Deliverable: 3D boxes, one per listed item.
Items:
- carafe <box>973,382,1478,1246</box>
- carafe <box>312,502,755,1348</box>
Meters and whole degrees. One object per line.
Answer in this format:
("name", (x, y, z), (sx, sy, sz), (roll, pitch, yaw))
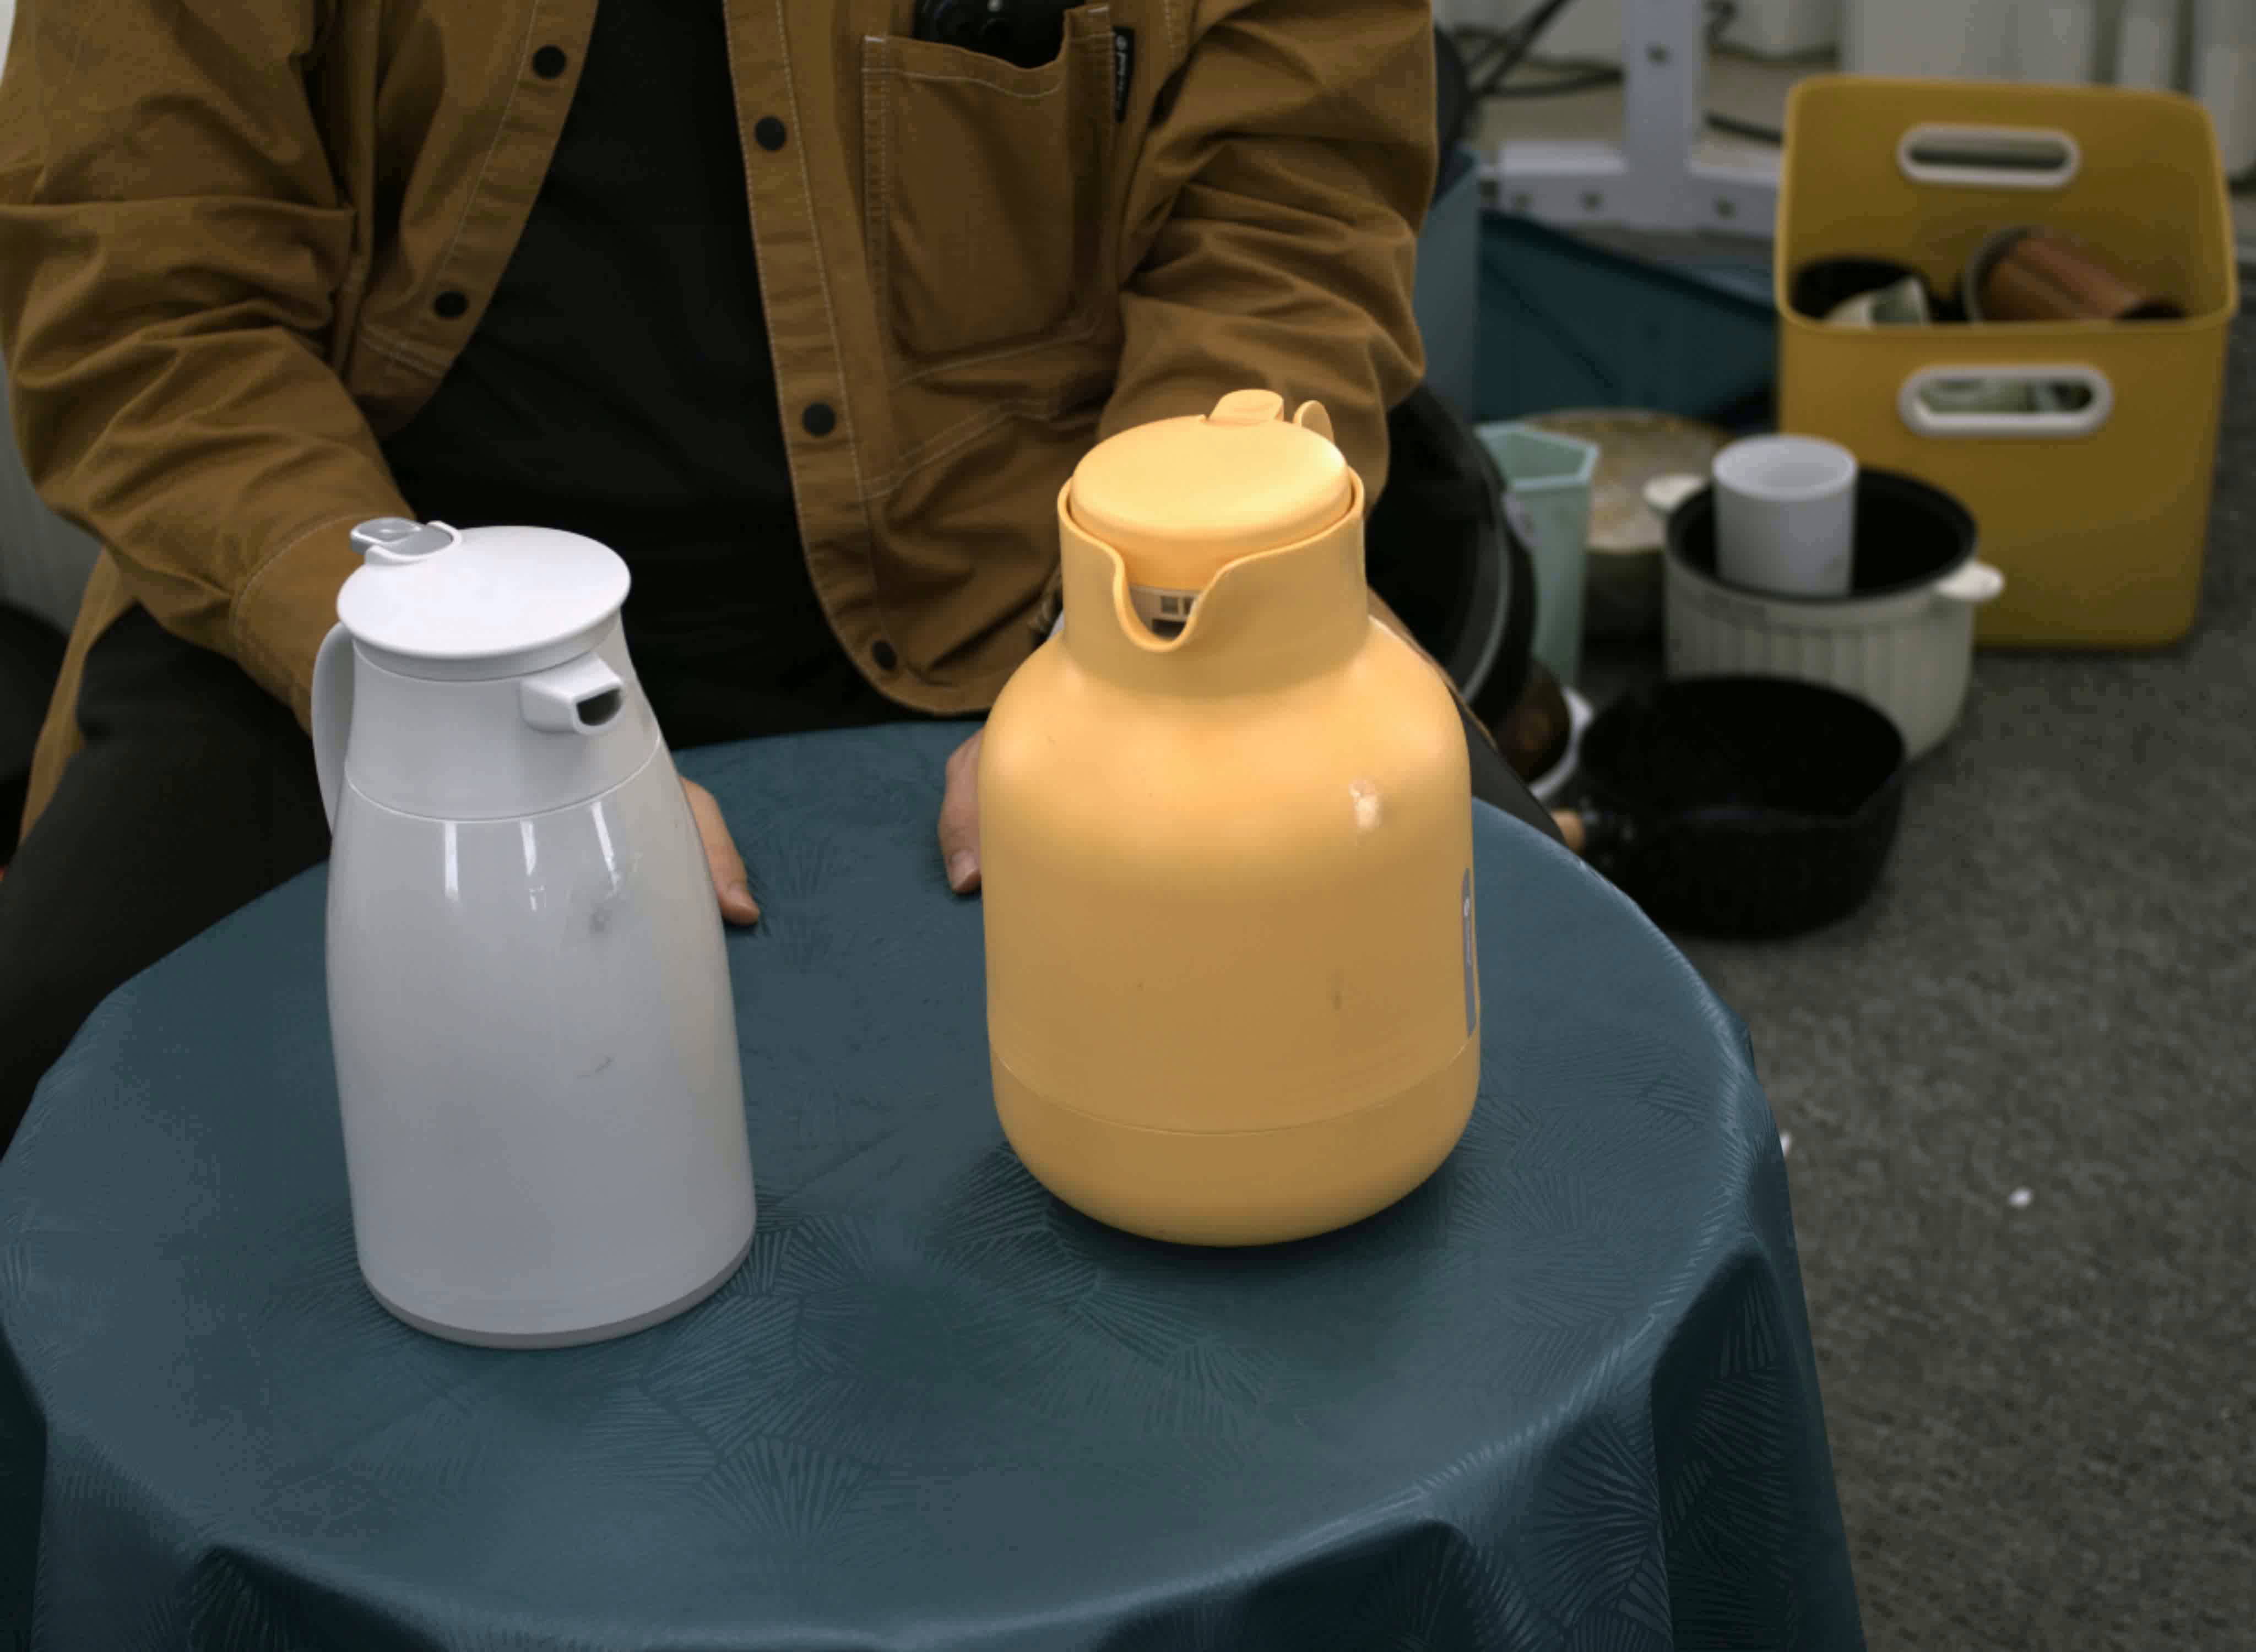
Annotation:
("carafe", (0.037, -0.013, 1.836), (0.162, 0.257, 0.206), (6, 29, 15))
("carafe", (-0.207, 0.021, 1.804), (0.134, 0.246, 0.167), (-22, 31, -33))
